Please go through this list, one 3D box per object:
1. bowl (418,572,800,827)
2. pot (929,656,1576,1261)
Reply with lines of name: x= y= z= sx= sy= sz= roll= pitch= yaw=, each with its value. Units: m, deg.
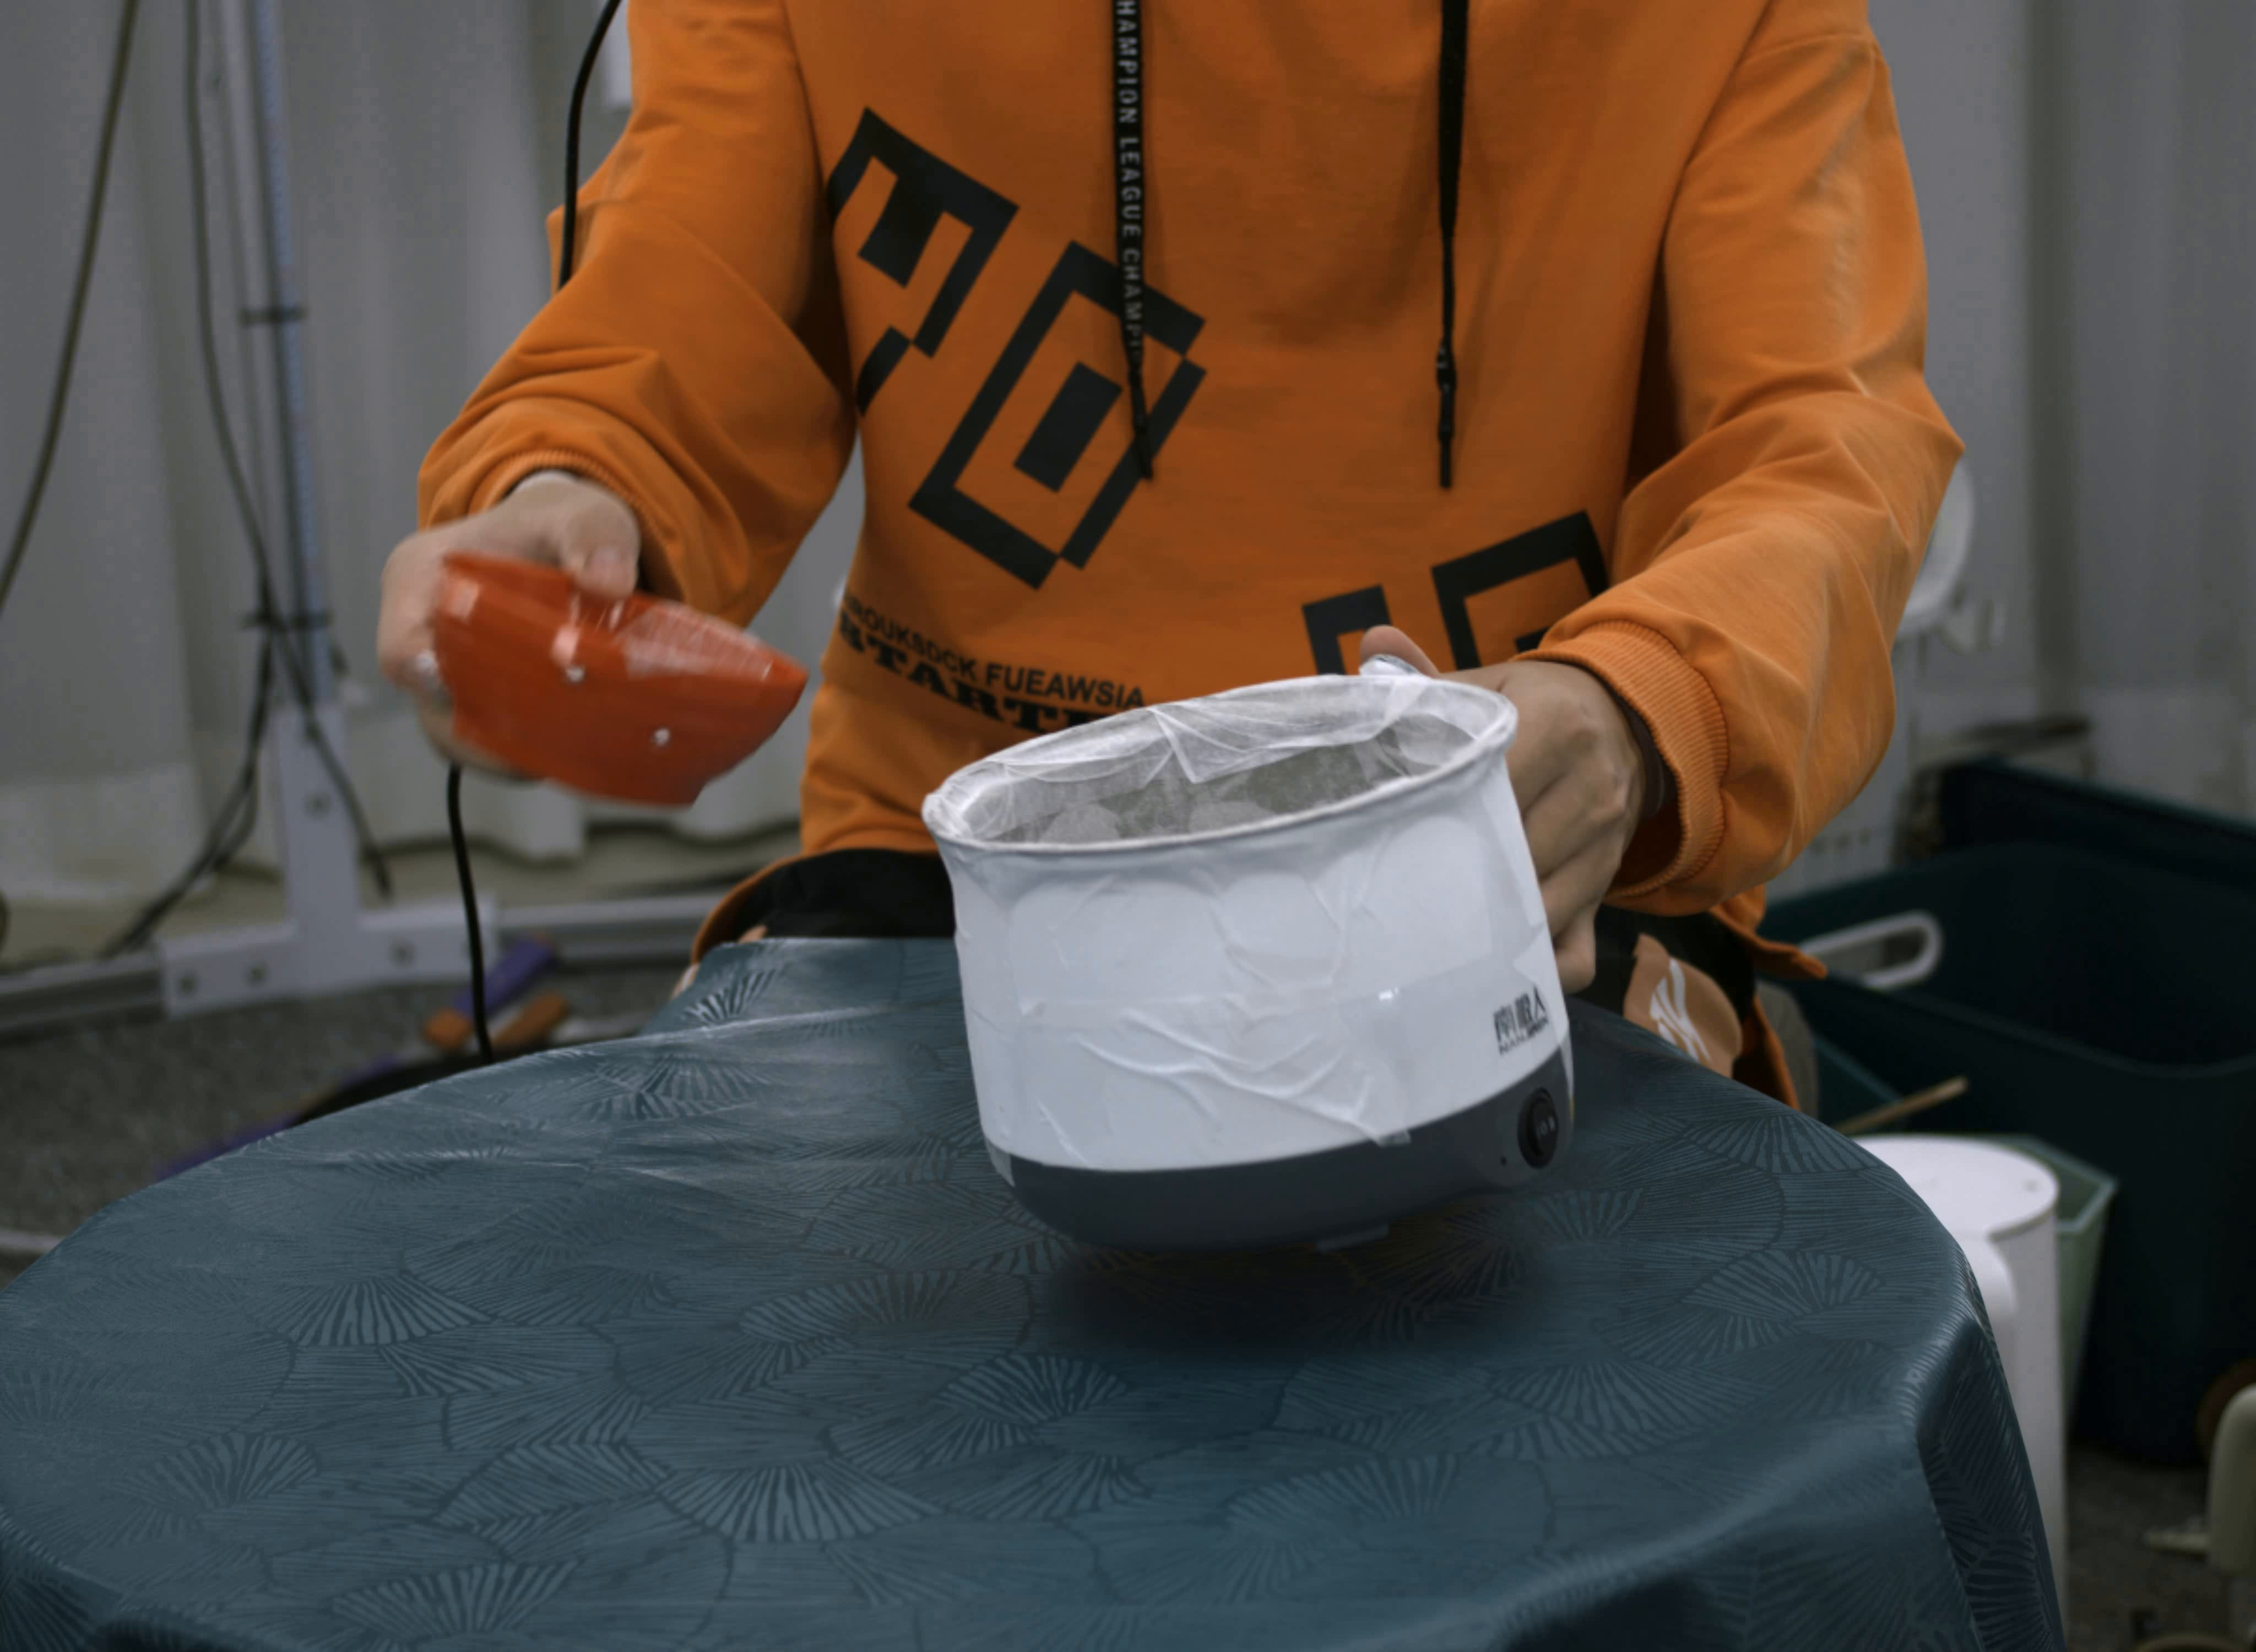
bowl: x=-0.162 y=-0.035 z=1.648 sx=0.118 sy=0.051 sz=0.119 roll=17 pitch=9 yaw=-3
pot: x=0.052 y=0.035 z=1.633 sx=0.179 sy=0.136 sz=0.234 roll=-1 pitch=16 yaw=32
